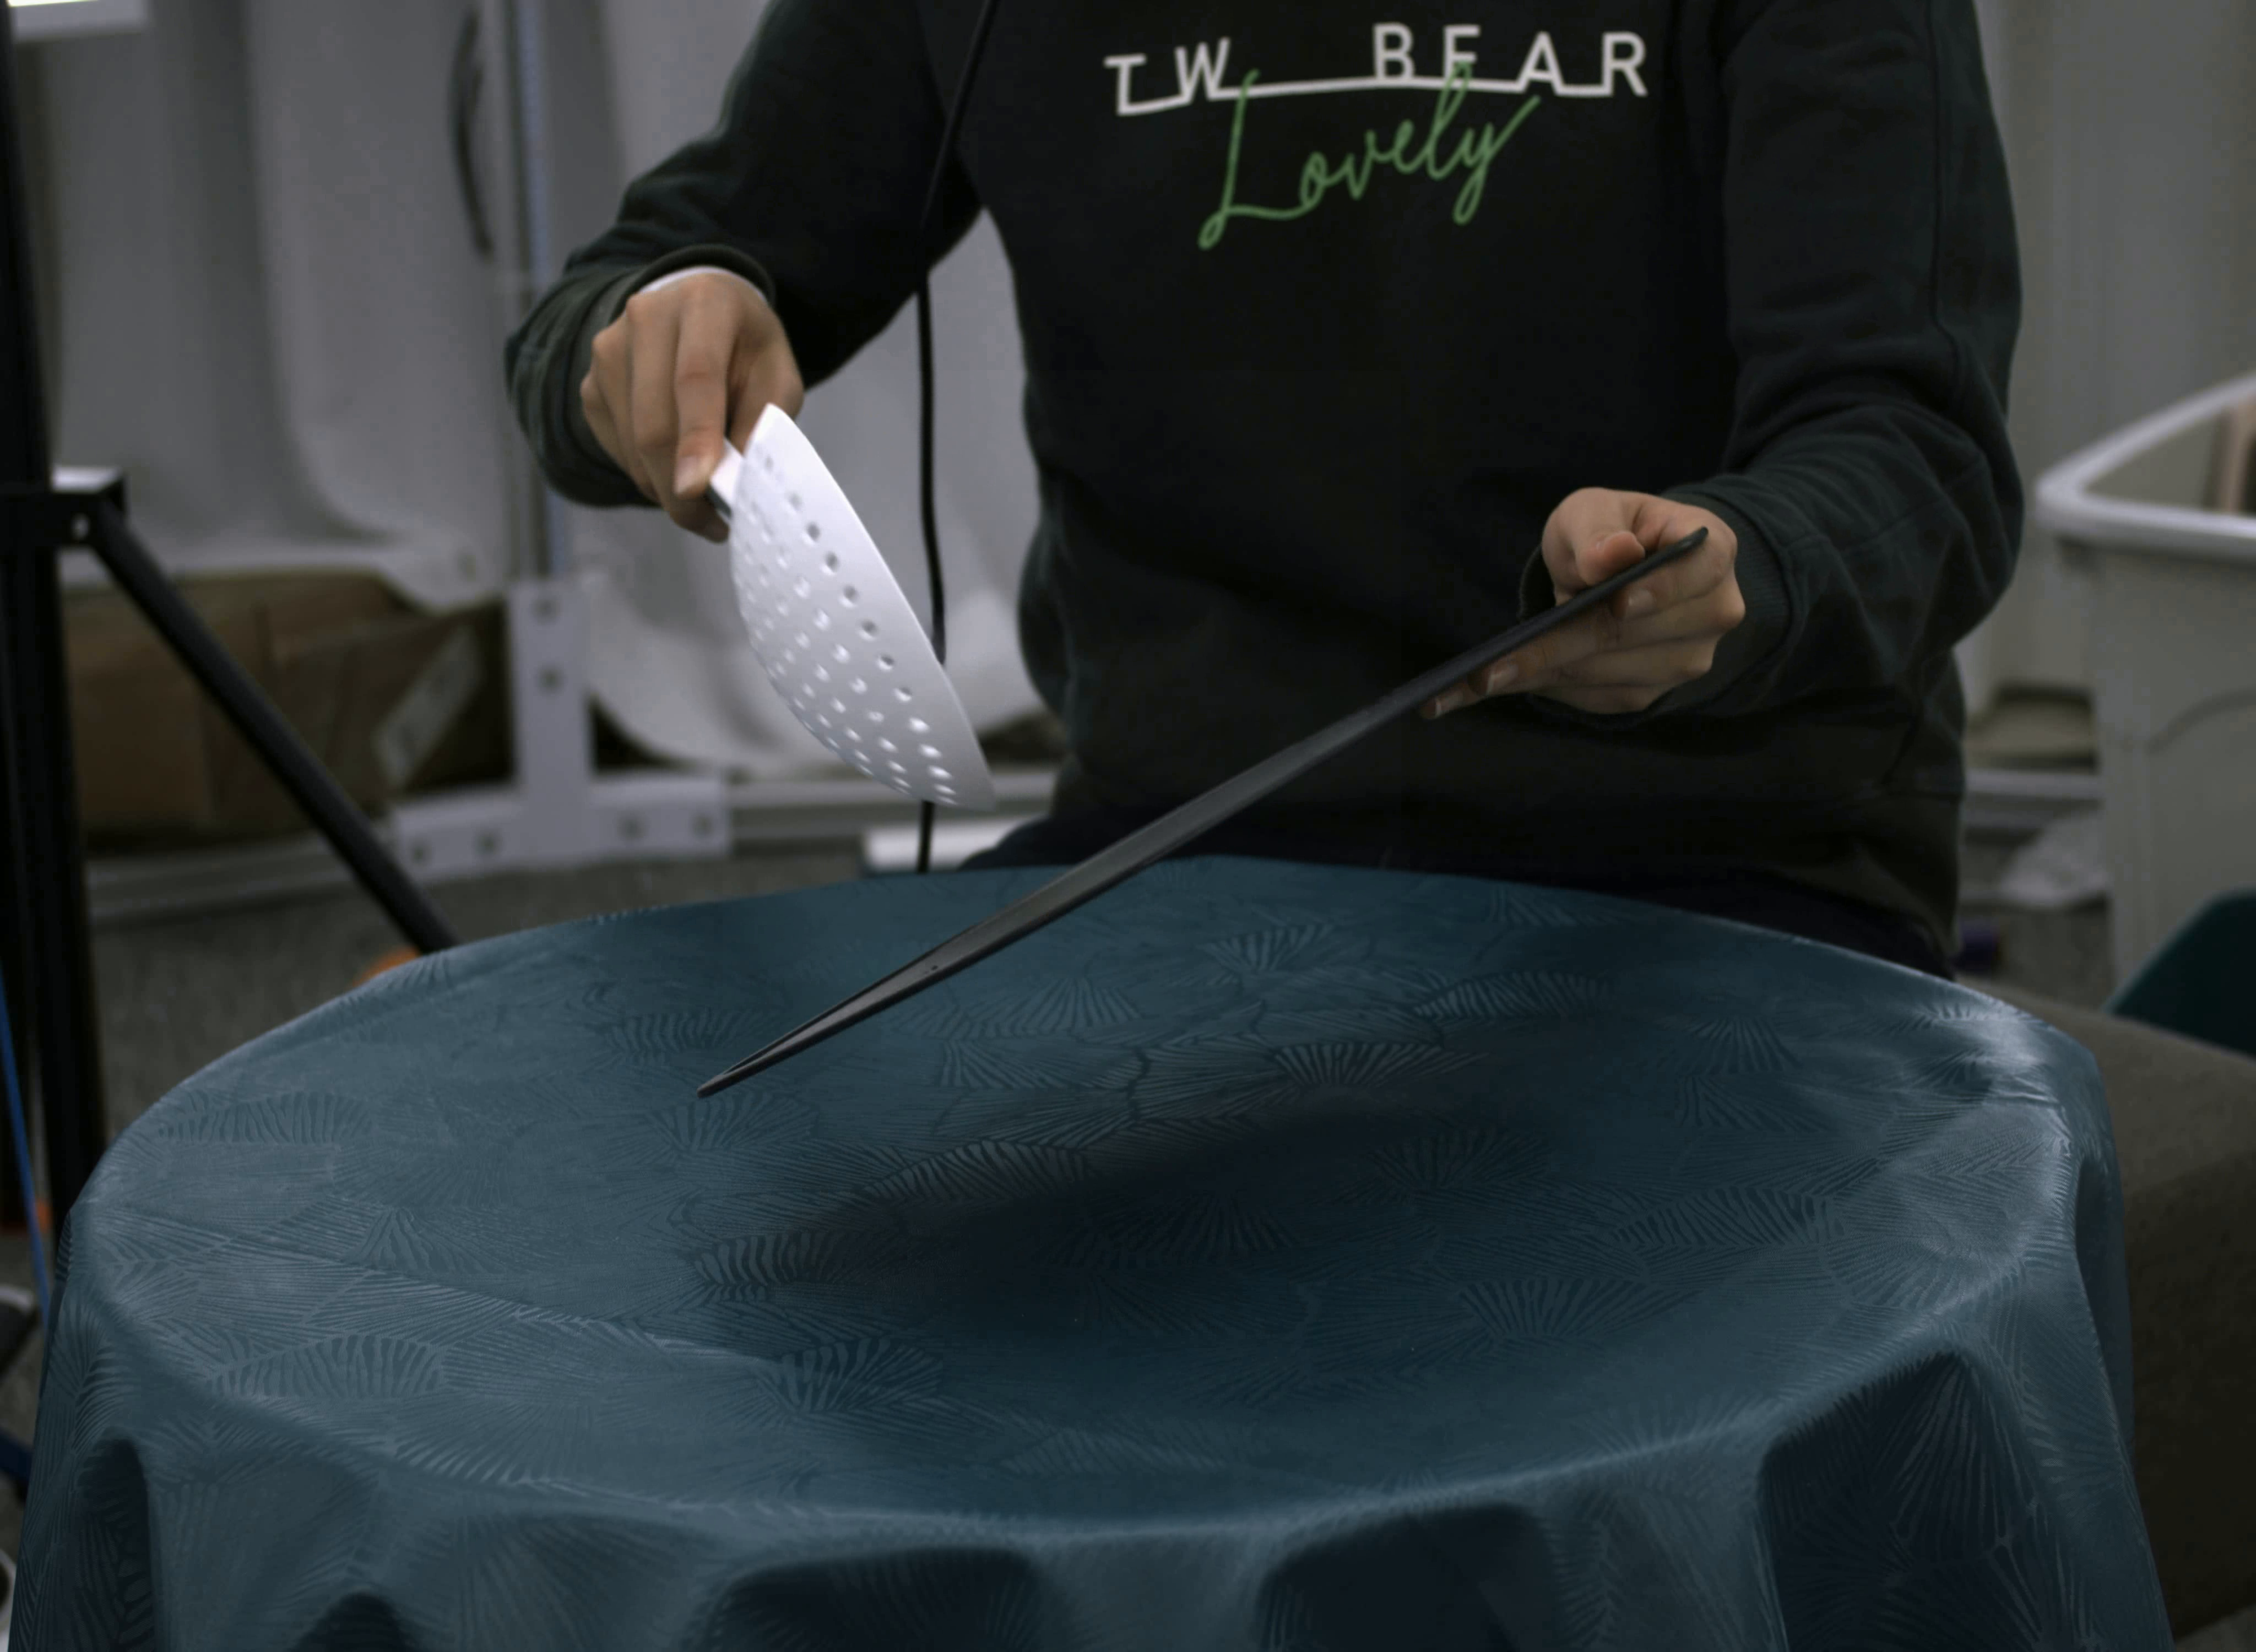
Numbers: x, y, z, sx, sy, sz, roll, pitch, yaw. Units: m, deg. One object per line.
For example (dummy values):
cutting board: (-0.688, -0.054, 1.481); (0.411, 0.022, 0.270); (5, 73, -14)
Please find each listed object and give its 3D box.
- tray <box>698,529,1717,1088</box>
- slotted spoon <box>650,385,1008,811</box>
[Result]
tray: (0.029, -0.009, 1.533); (0.319, 0.010, 0.214); (-30, 2, -36)
slotted spoon: (-0.105, -0.092, 1.678); (0.045, 0.135, 0.354); (-26, 22, -3)
